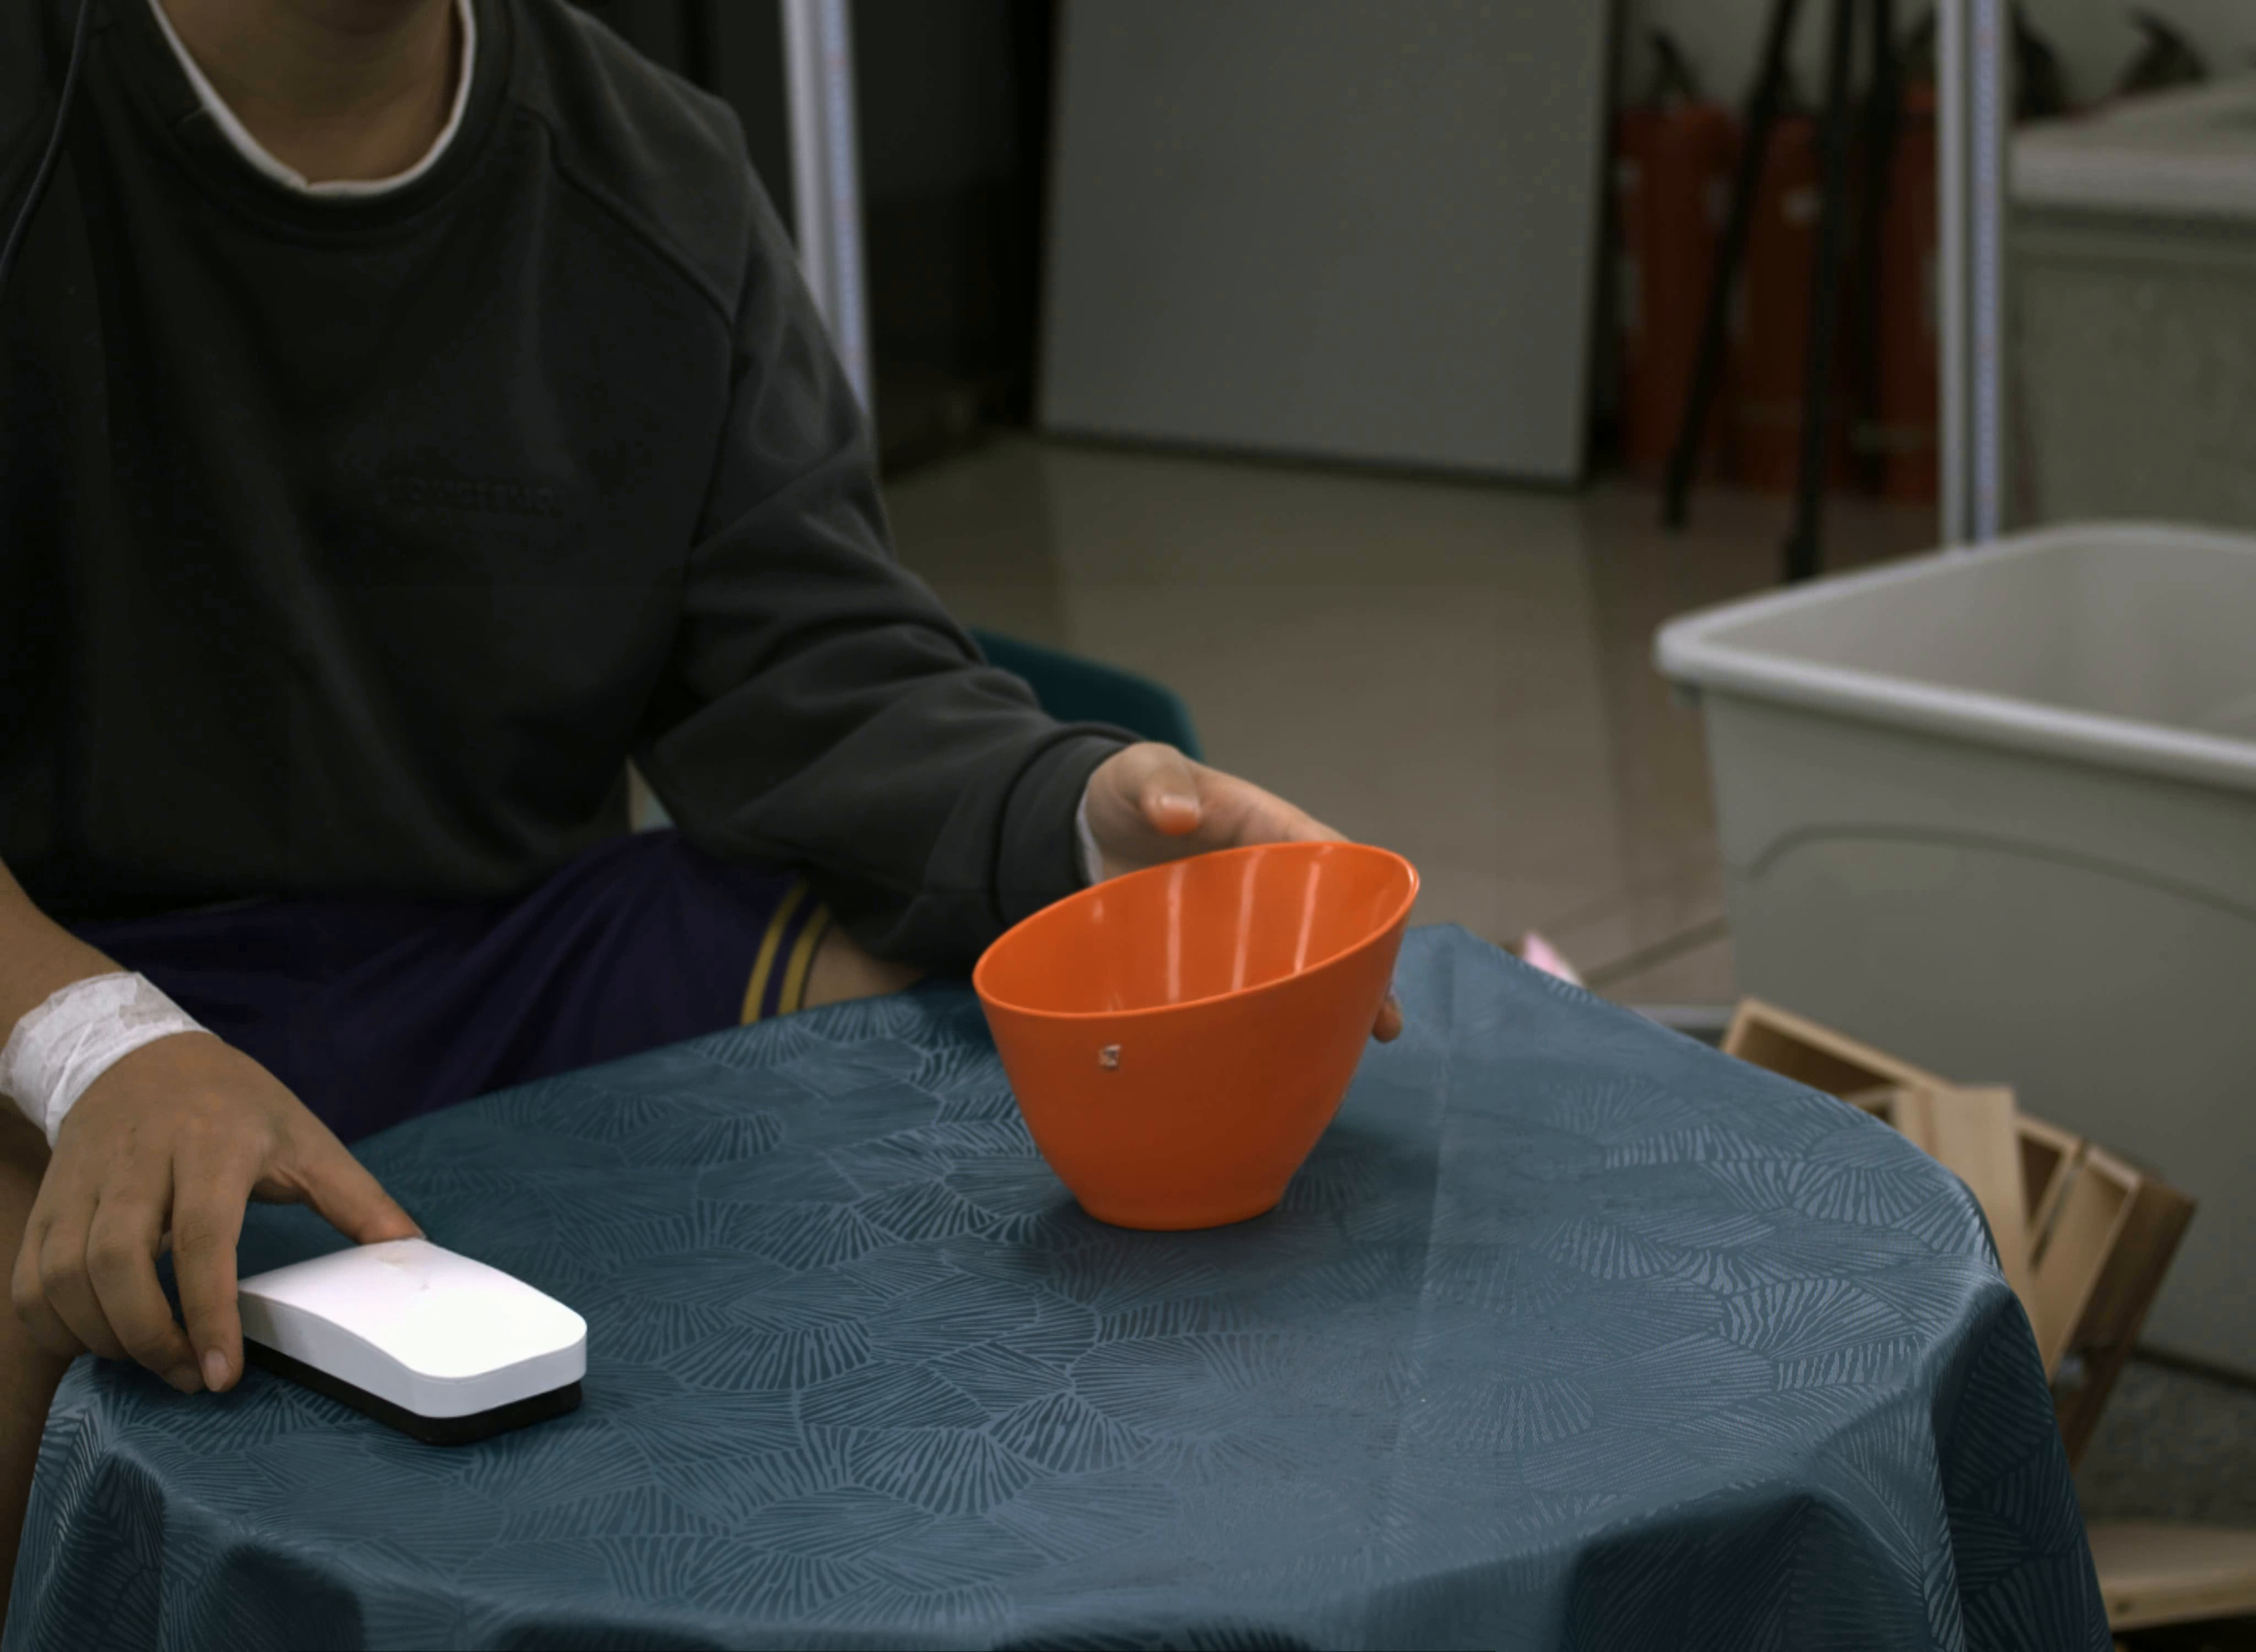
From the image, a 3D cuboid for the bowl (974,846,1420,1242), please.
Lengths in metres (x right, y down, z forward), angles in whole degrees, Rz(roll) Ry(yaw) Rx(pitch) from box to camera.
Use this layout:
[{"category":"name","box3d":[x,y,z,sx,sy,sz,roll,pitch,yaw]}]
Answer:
[{"category":"bowl","box3d":[0.026,0.073,1.747,0.146,0.106,0.148,-5,14,0]}]

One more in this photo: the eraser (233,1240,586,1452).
[{"category":"eraser","box3d":[-0.216,0.153,1.633,0.062,0.035,0.133,-12,17,-34]}]
